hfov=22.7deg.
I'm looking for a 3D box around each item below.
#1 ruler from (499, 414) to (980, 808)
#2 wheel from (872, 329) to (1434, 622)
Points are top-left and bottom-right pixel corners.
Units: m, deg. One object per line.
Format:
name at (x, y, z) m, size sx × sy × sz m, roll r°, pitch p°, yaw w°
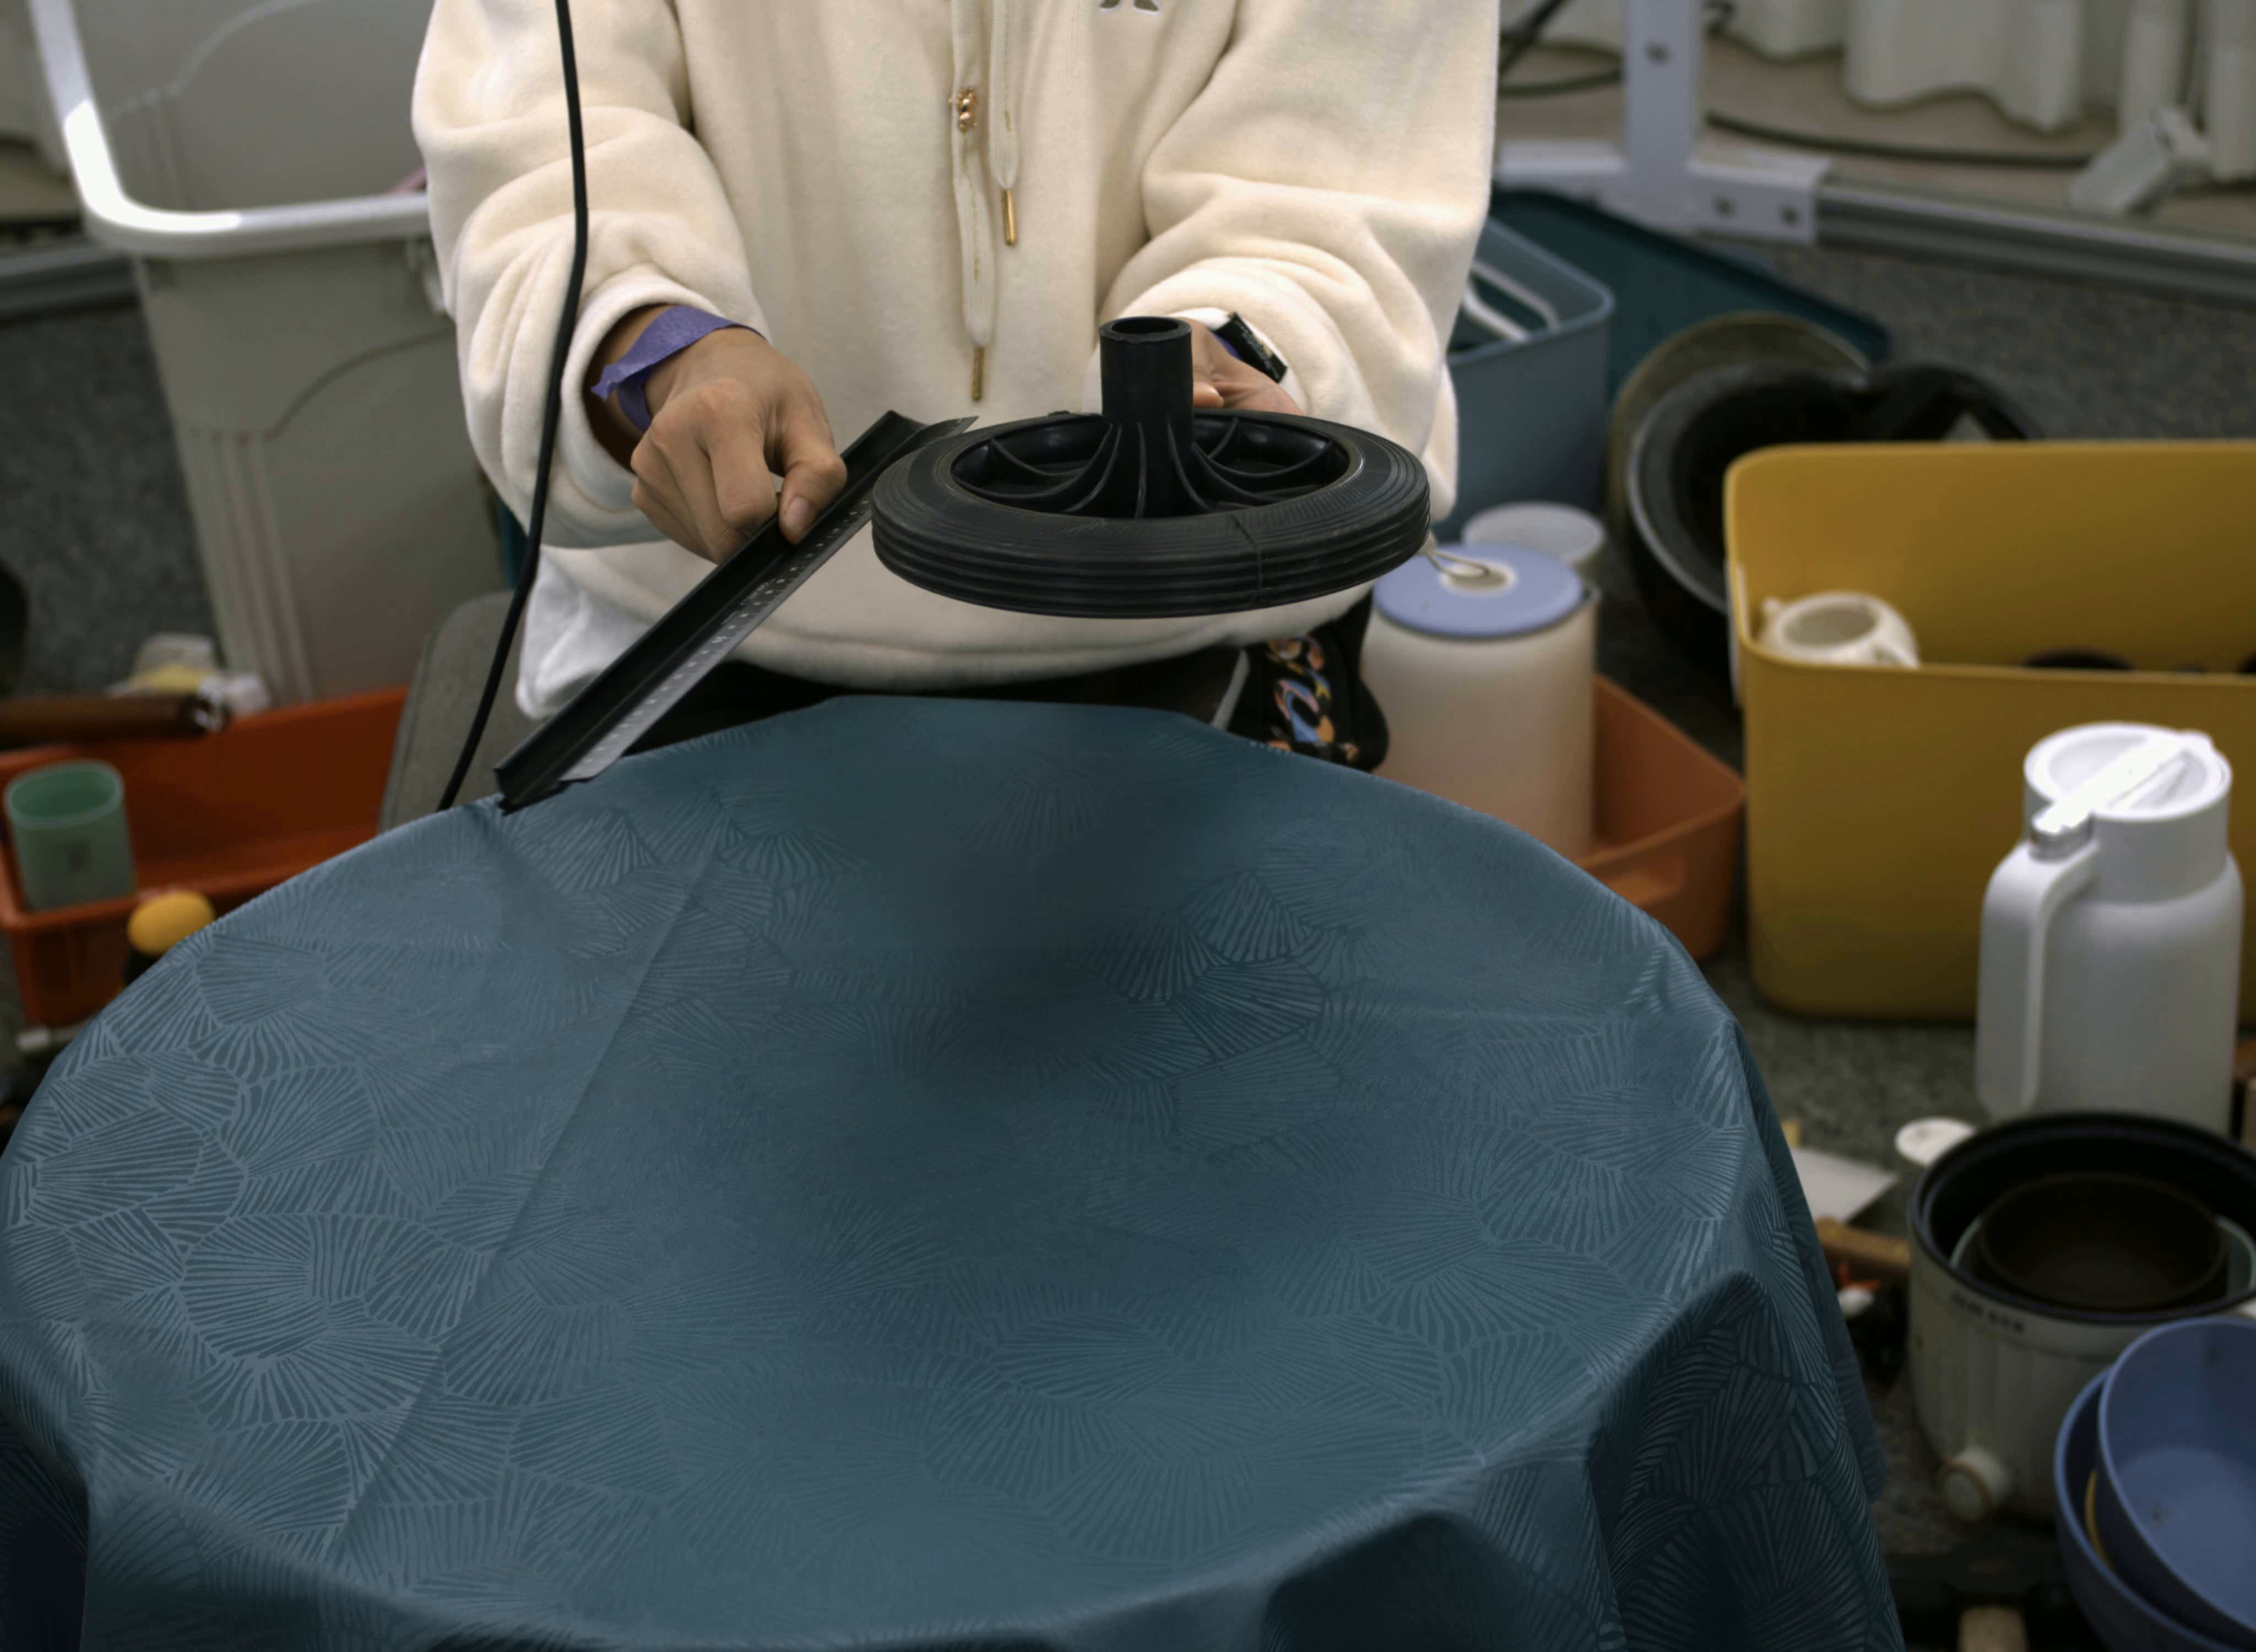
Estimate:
ruler at (-0.125, -0.080, 1.862) m, size 0.039 × 0.017 × 0.317 m, roll -18°, pitch 16°, yaw 29°
wheel at (0.008, -0.124, 1.887) m, size 0.188 × 0.078 × 0.190 m, roll 4°, pitch 19°, yaw 14°
